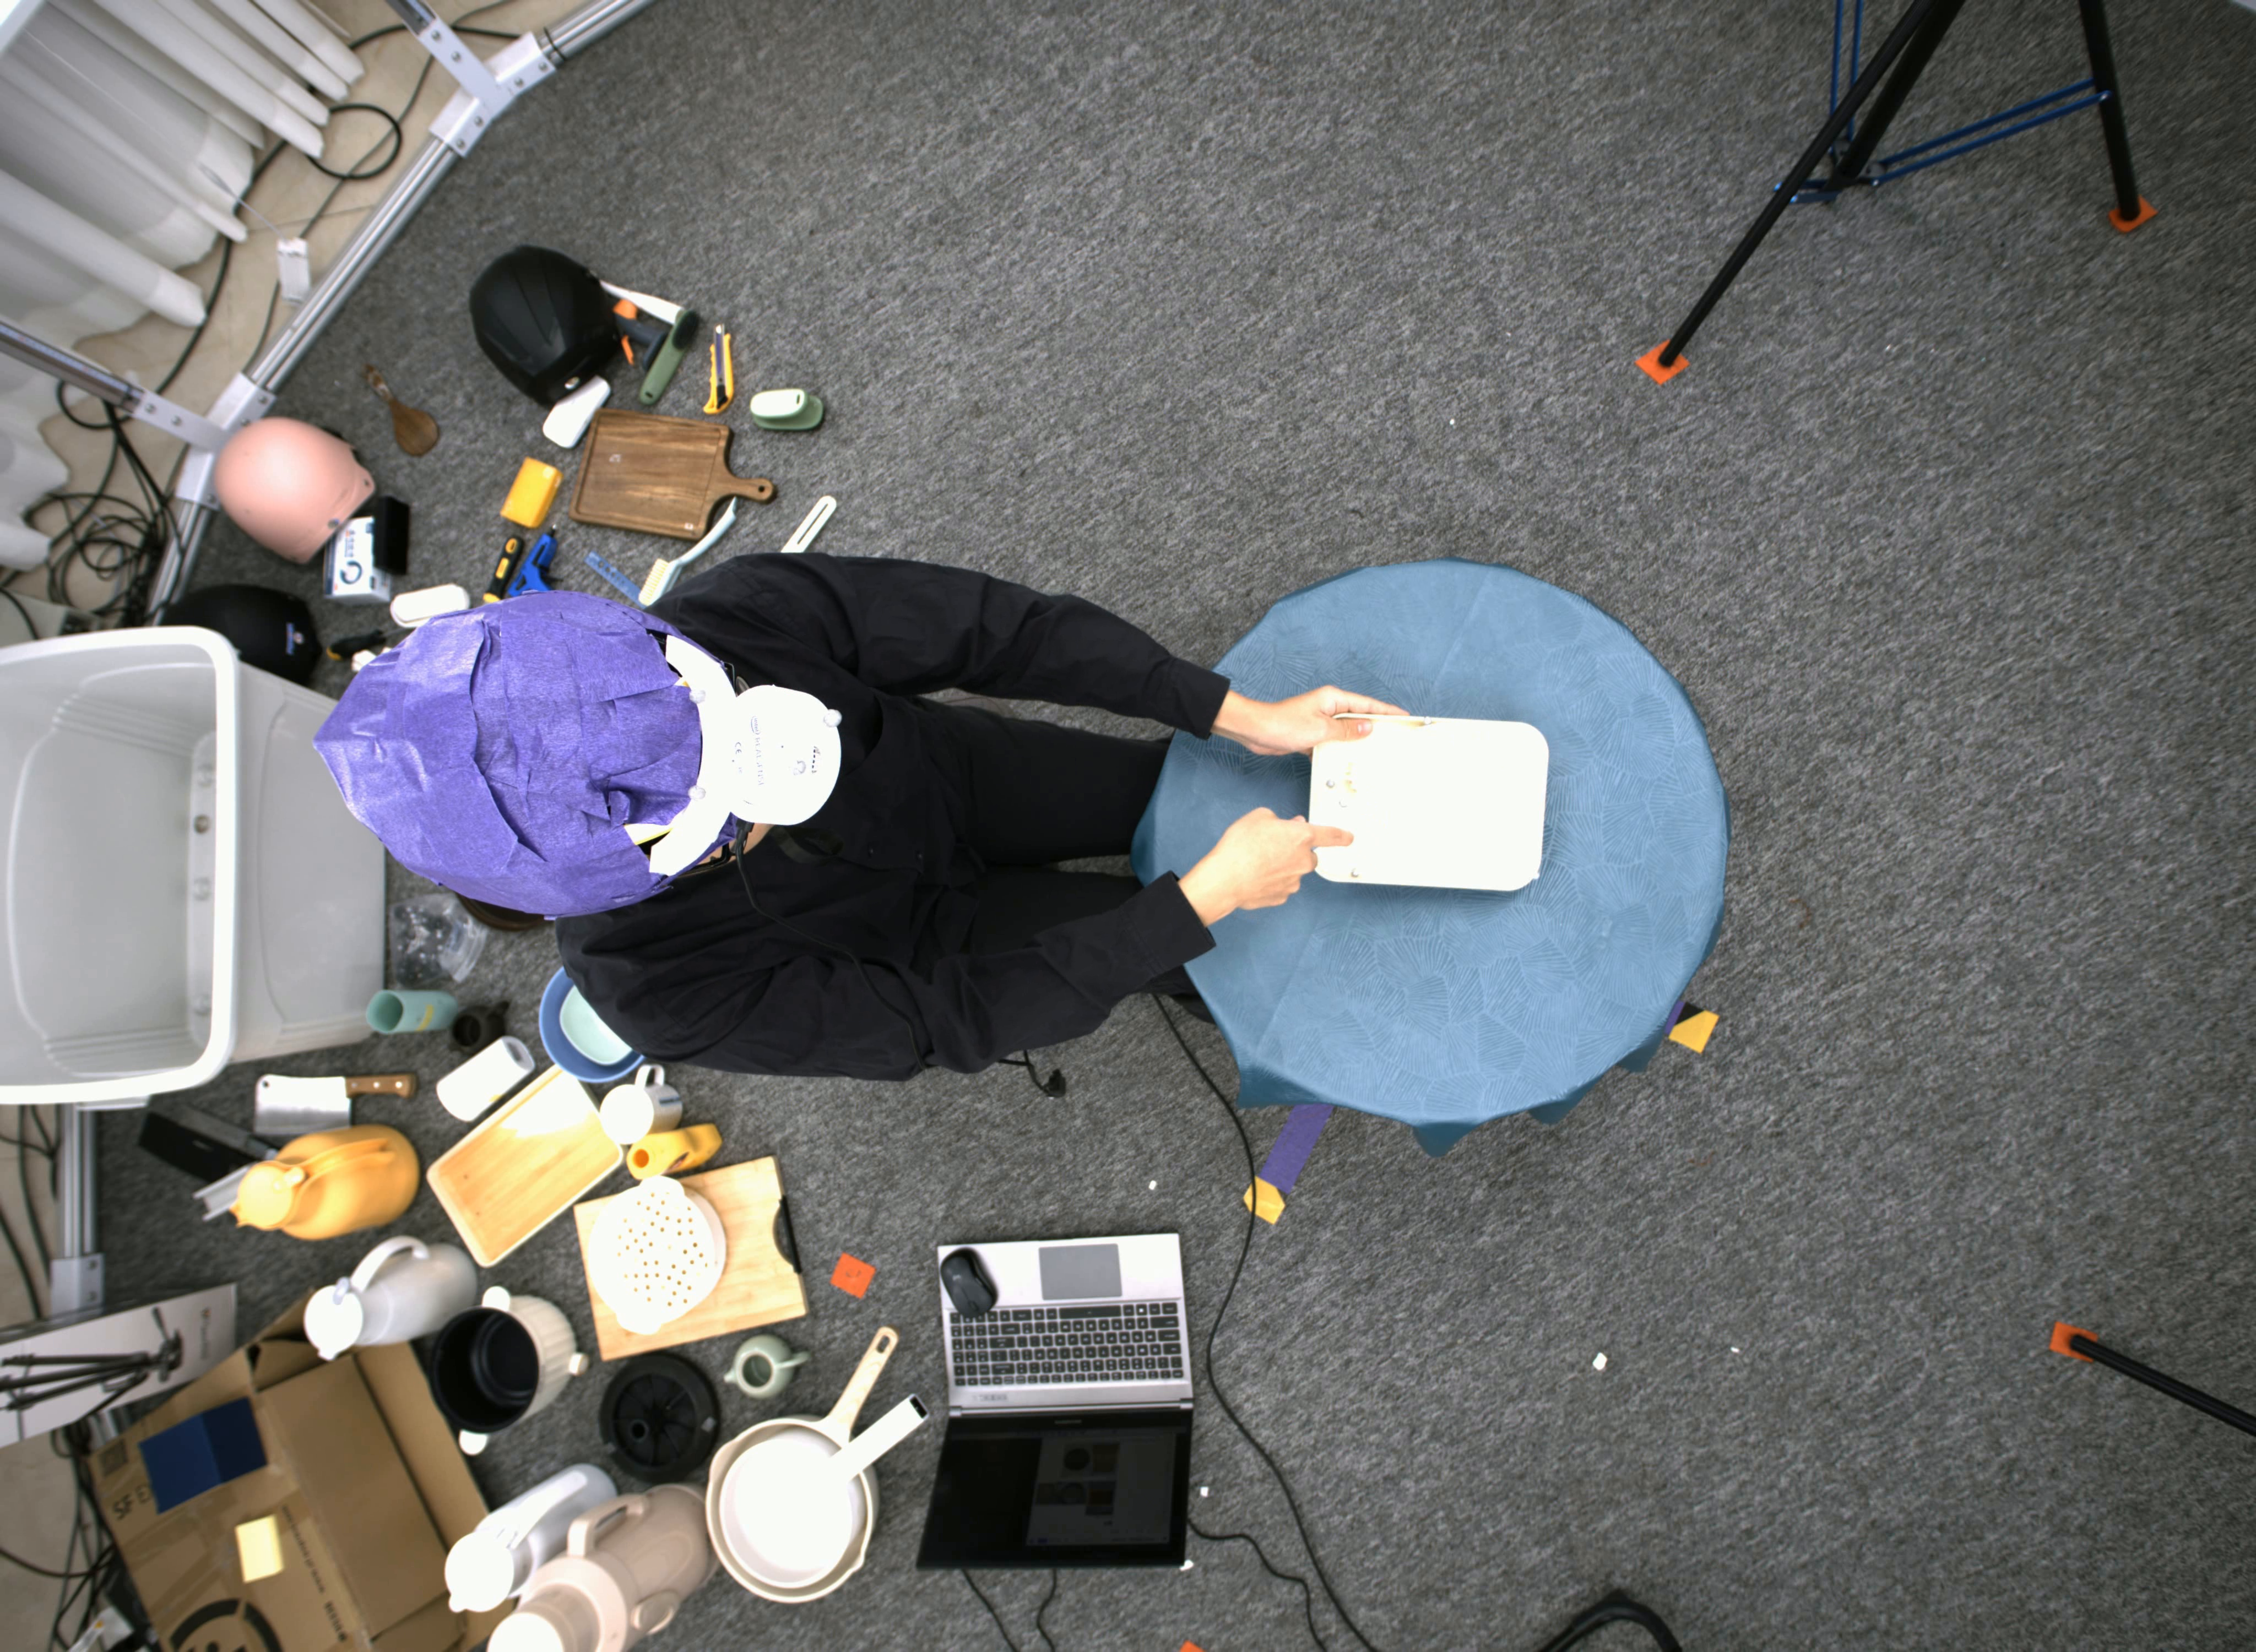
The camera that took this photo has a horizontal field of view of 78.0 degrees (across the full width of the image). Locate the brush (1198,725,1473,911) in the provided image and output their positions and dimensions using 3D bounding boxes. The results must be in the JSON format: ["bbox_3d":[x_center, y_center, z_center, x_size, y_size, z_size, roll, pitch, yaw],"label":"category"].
[{"bbox_3d":[0.196,-0.012,1.355,0.323,0.086,0.082,-32,57,-9],"label":"brush"}]

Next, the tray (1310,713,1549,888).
[{"bbox_3d":[0.304,-0.027,1.390,0.240,0.017,0.172,3,96,-1],"label":"tray"}]
